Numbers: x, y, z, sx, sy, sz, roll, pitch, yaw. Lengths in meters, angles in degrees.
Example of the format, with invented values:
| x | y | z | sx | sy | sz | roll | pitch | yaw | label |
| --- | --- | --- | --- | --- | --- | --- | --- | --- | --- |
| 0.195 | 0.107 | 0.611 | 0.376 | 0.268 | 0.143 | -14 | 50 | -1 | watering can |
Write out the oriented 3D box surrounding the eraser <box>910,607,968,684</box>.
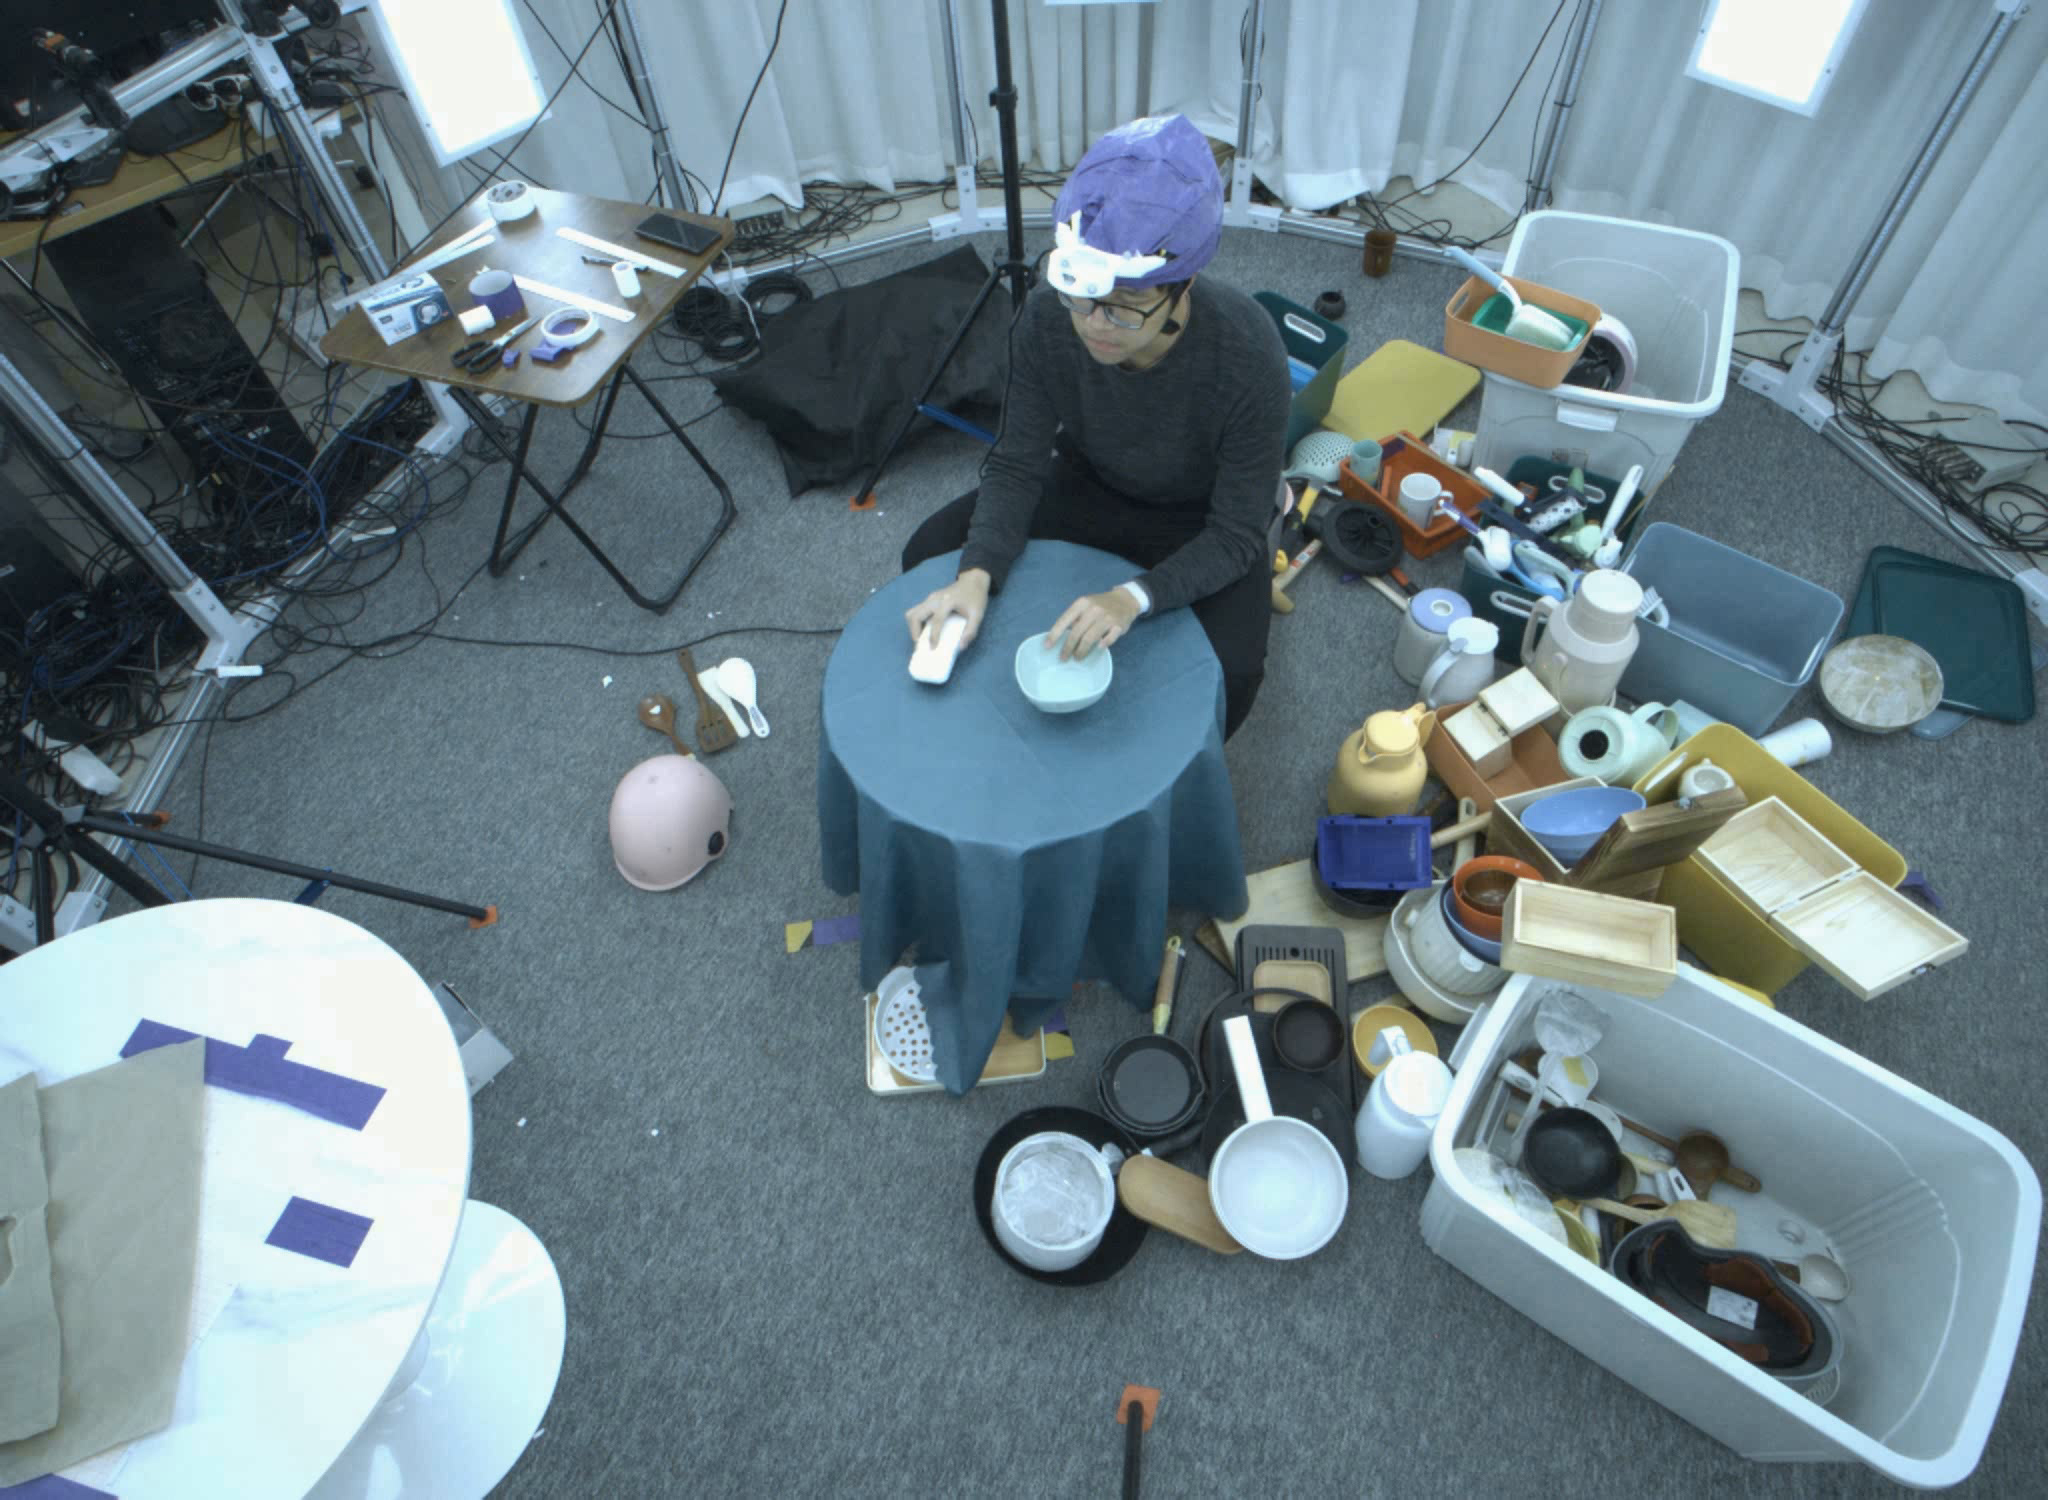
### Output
| x | y | z | sx | sy | sz | roll | pitch | yaw | label |
| --- | --- | --- | --- | --- | --- | --- | --- | --- | --- |
| -0.127 | -0.161 | 1.866 | 0.063 | 0.035 | 0.131 | 10 | 59 | 13 | eraser |

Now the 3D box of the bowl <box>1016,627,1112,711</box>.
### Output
| x | y | z | sx | sy | sz | roll | pitch | yaw | label |
| --- | --- | --- | --- | --- | --- | --- | --- | --- | --- |
| 0.059 | -0.108 | 1.792 | 0.151 | 0.059 | 0.150 | -1 | 53 | 2 | bowl |
